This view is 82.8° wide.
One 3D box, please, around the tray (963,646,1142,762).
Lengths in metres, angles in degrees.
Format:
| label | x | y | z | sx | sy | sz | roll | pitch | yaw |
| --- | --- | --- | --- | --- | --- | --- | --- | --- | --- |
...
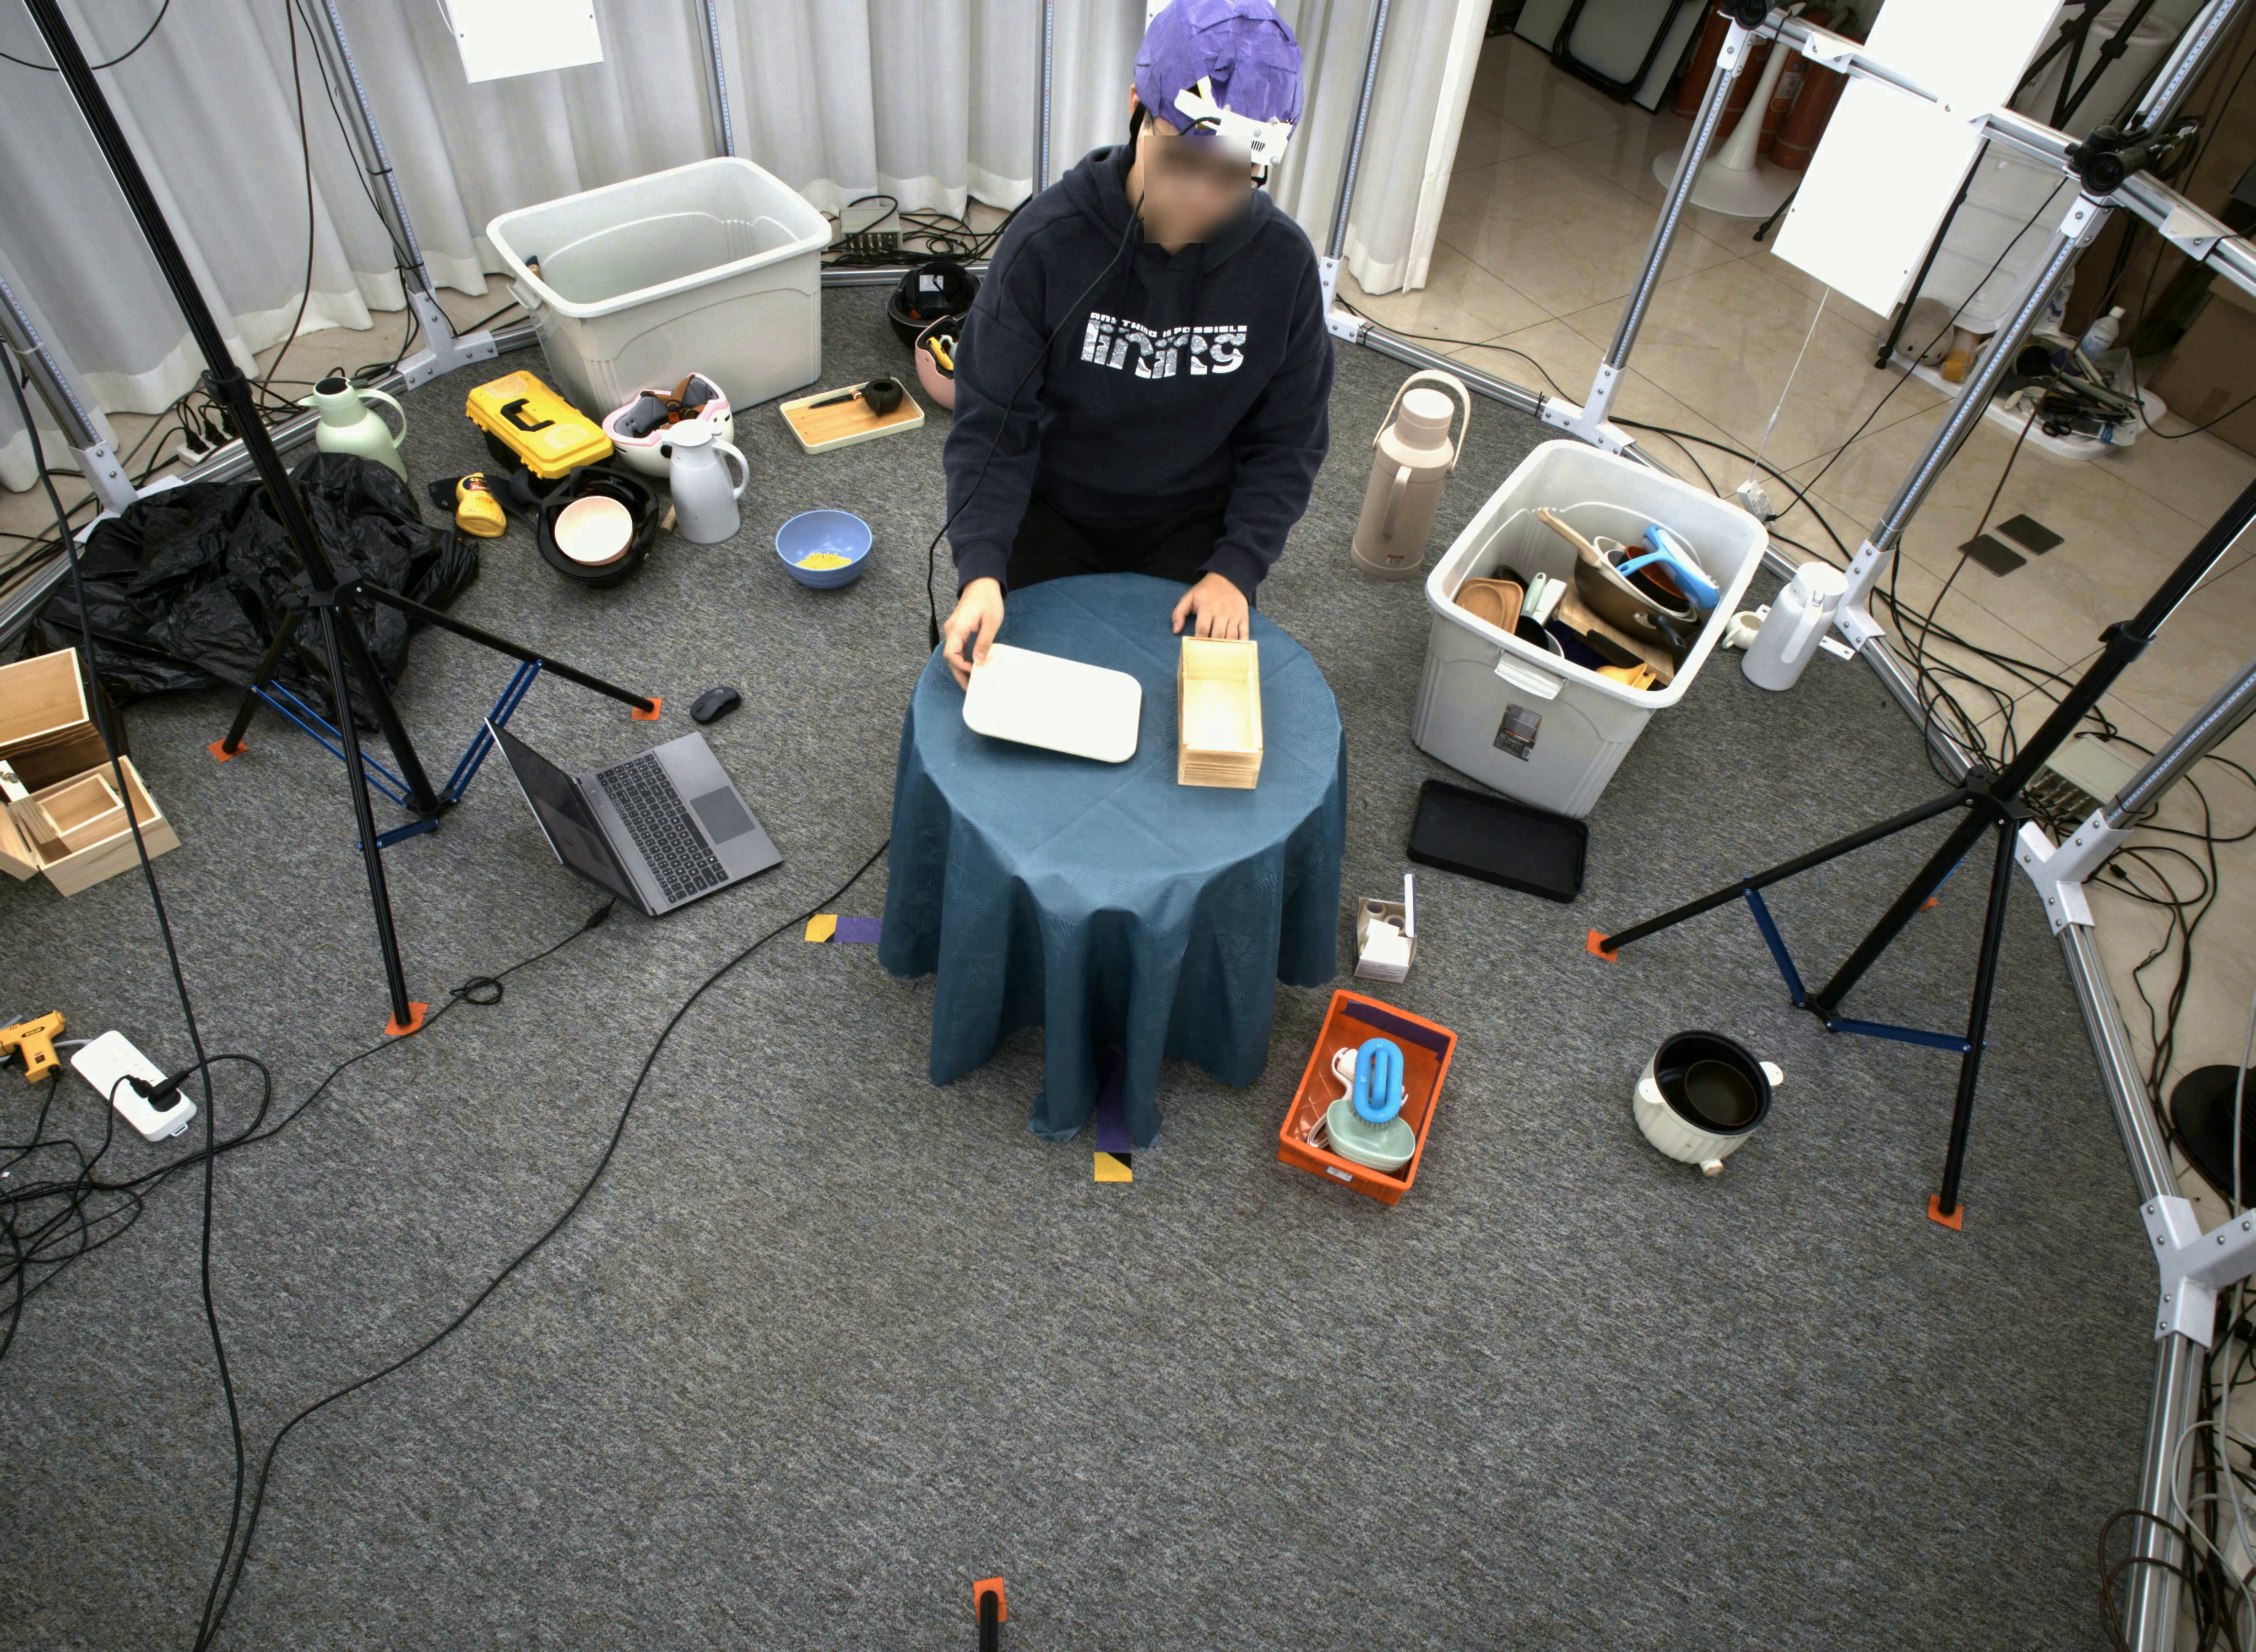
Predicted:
| label | x | y | z | sx | sy | sz | roll | pitch | yaw |
| --- | --- | --- | --- | --- | --- | --- | --- | --- | --- |
| tray | -0.101 | -0.168 | 1.771 | 0.239 | 0.017 | 0.175 | 11 | 48 | -6 |

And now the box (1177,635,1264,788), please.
| label | x | y | z | sx | sy | sz | roll | pitch | yaw |
| --- | --- | --- | --- | --- | --- | --- | --- | --- | --- |
| box | 0.125 | -0.159 | 1.762 | 0.107 | 0.078 | 0.217 | 3 | 49 | -2 |
